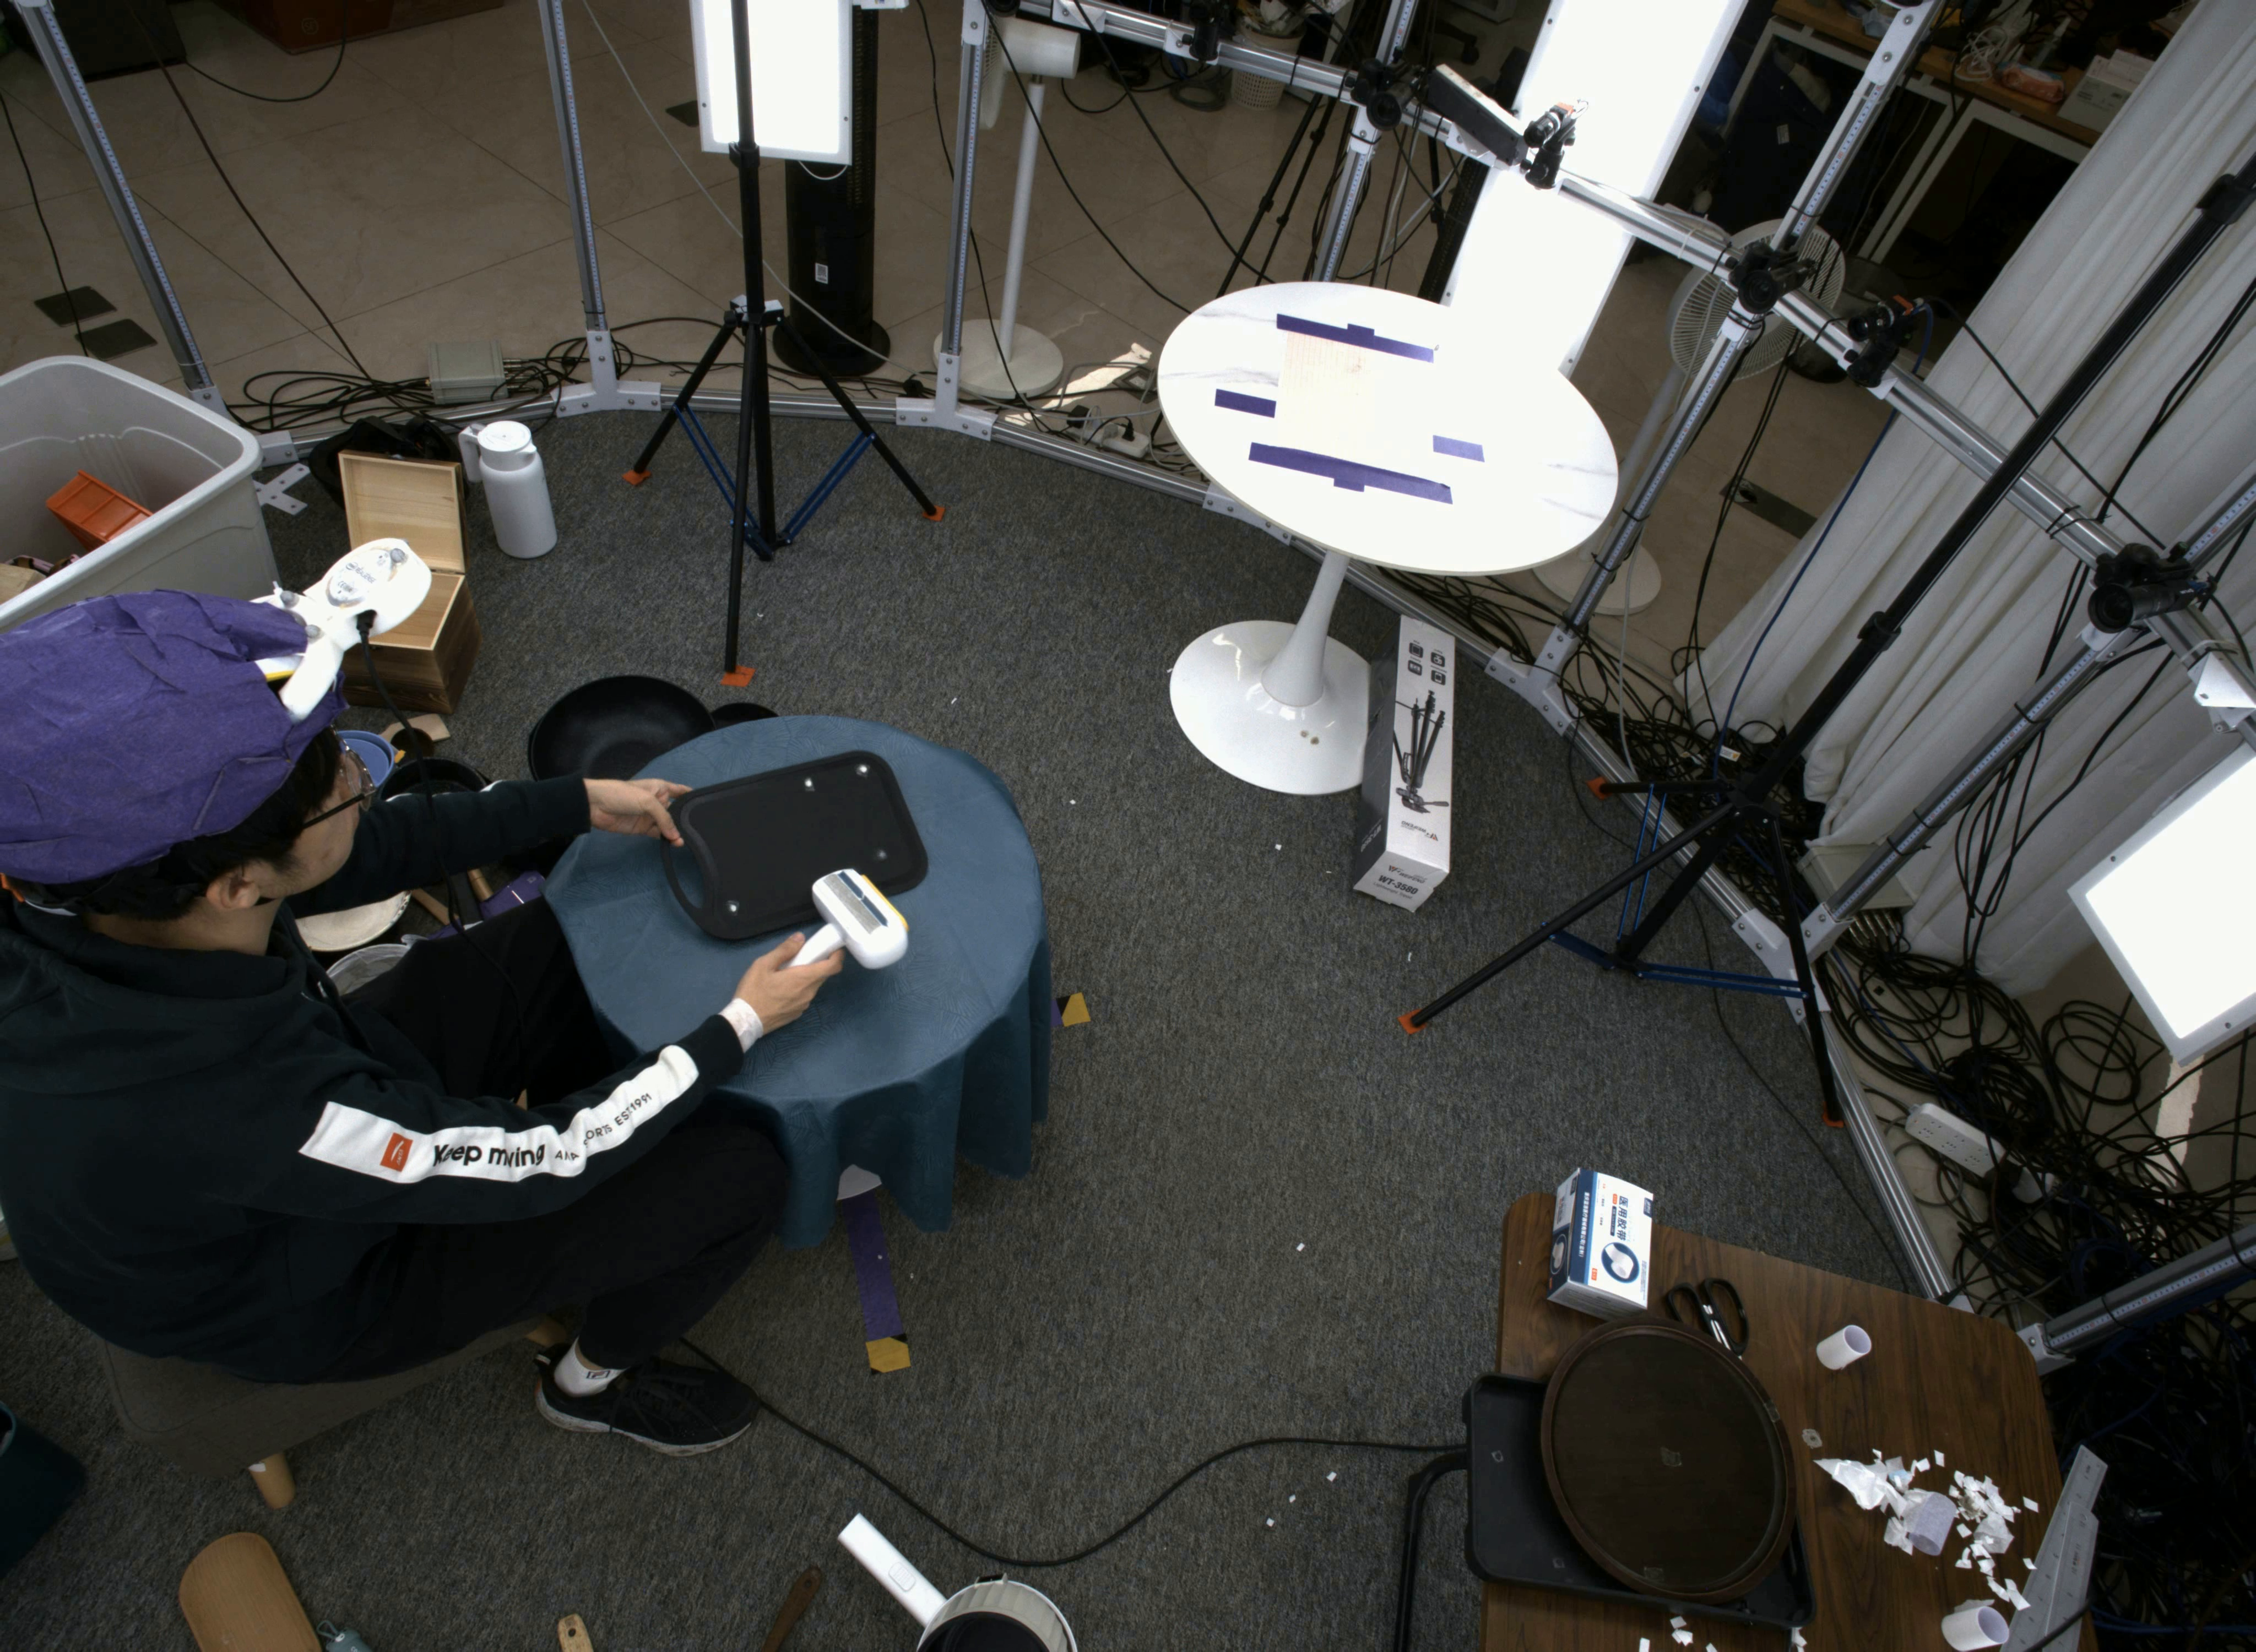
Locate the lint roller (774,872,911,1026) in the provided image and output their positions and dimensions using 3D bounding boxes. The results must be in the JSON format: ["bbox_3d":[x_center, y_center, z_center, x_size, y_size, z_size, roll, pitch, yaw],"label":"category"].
[{"bbox_3d":[-0.361,0.157,1.566,0.192,0.077,0.186,-39,41,-6],"label":"lint roller"}]

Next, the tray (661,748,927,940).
[{"bbox_3d":[-0.431,0.019,1.666,0.328,0.010,0.210,-17,77,-29],"label":"tray"}]
